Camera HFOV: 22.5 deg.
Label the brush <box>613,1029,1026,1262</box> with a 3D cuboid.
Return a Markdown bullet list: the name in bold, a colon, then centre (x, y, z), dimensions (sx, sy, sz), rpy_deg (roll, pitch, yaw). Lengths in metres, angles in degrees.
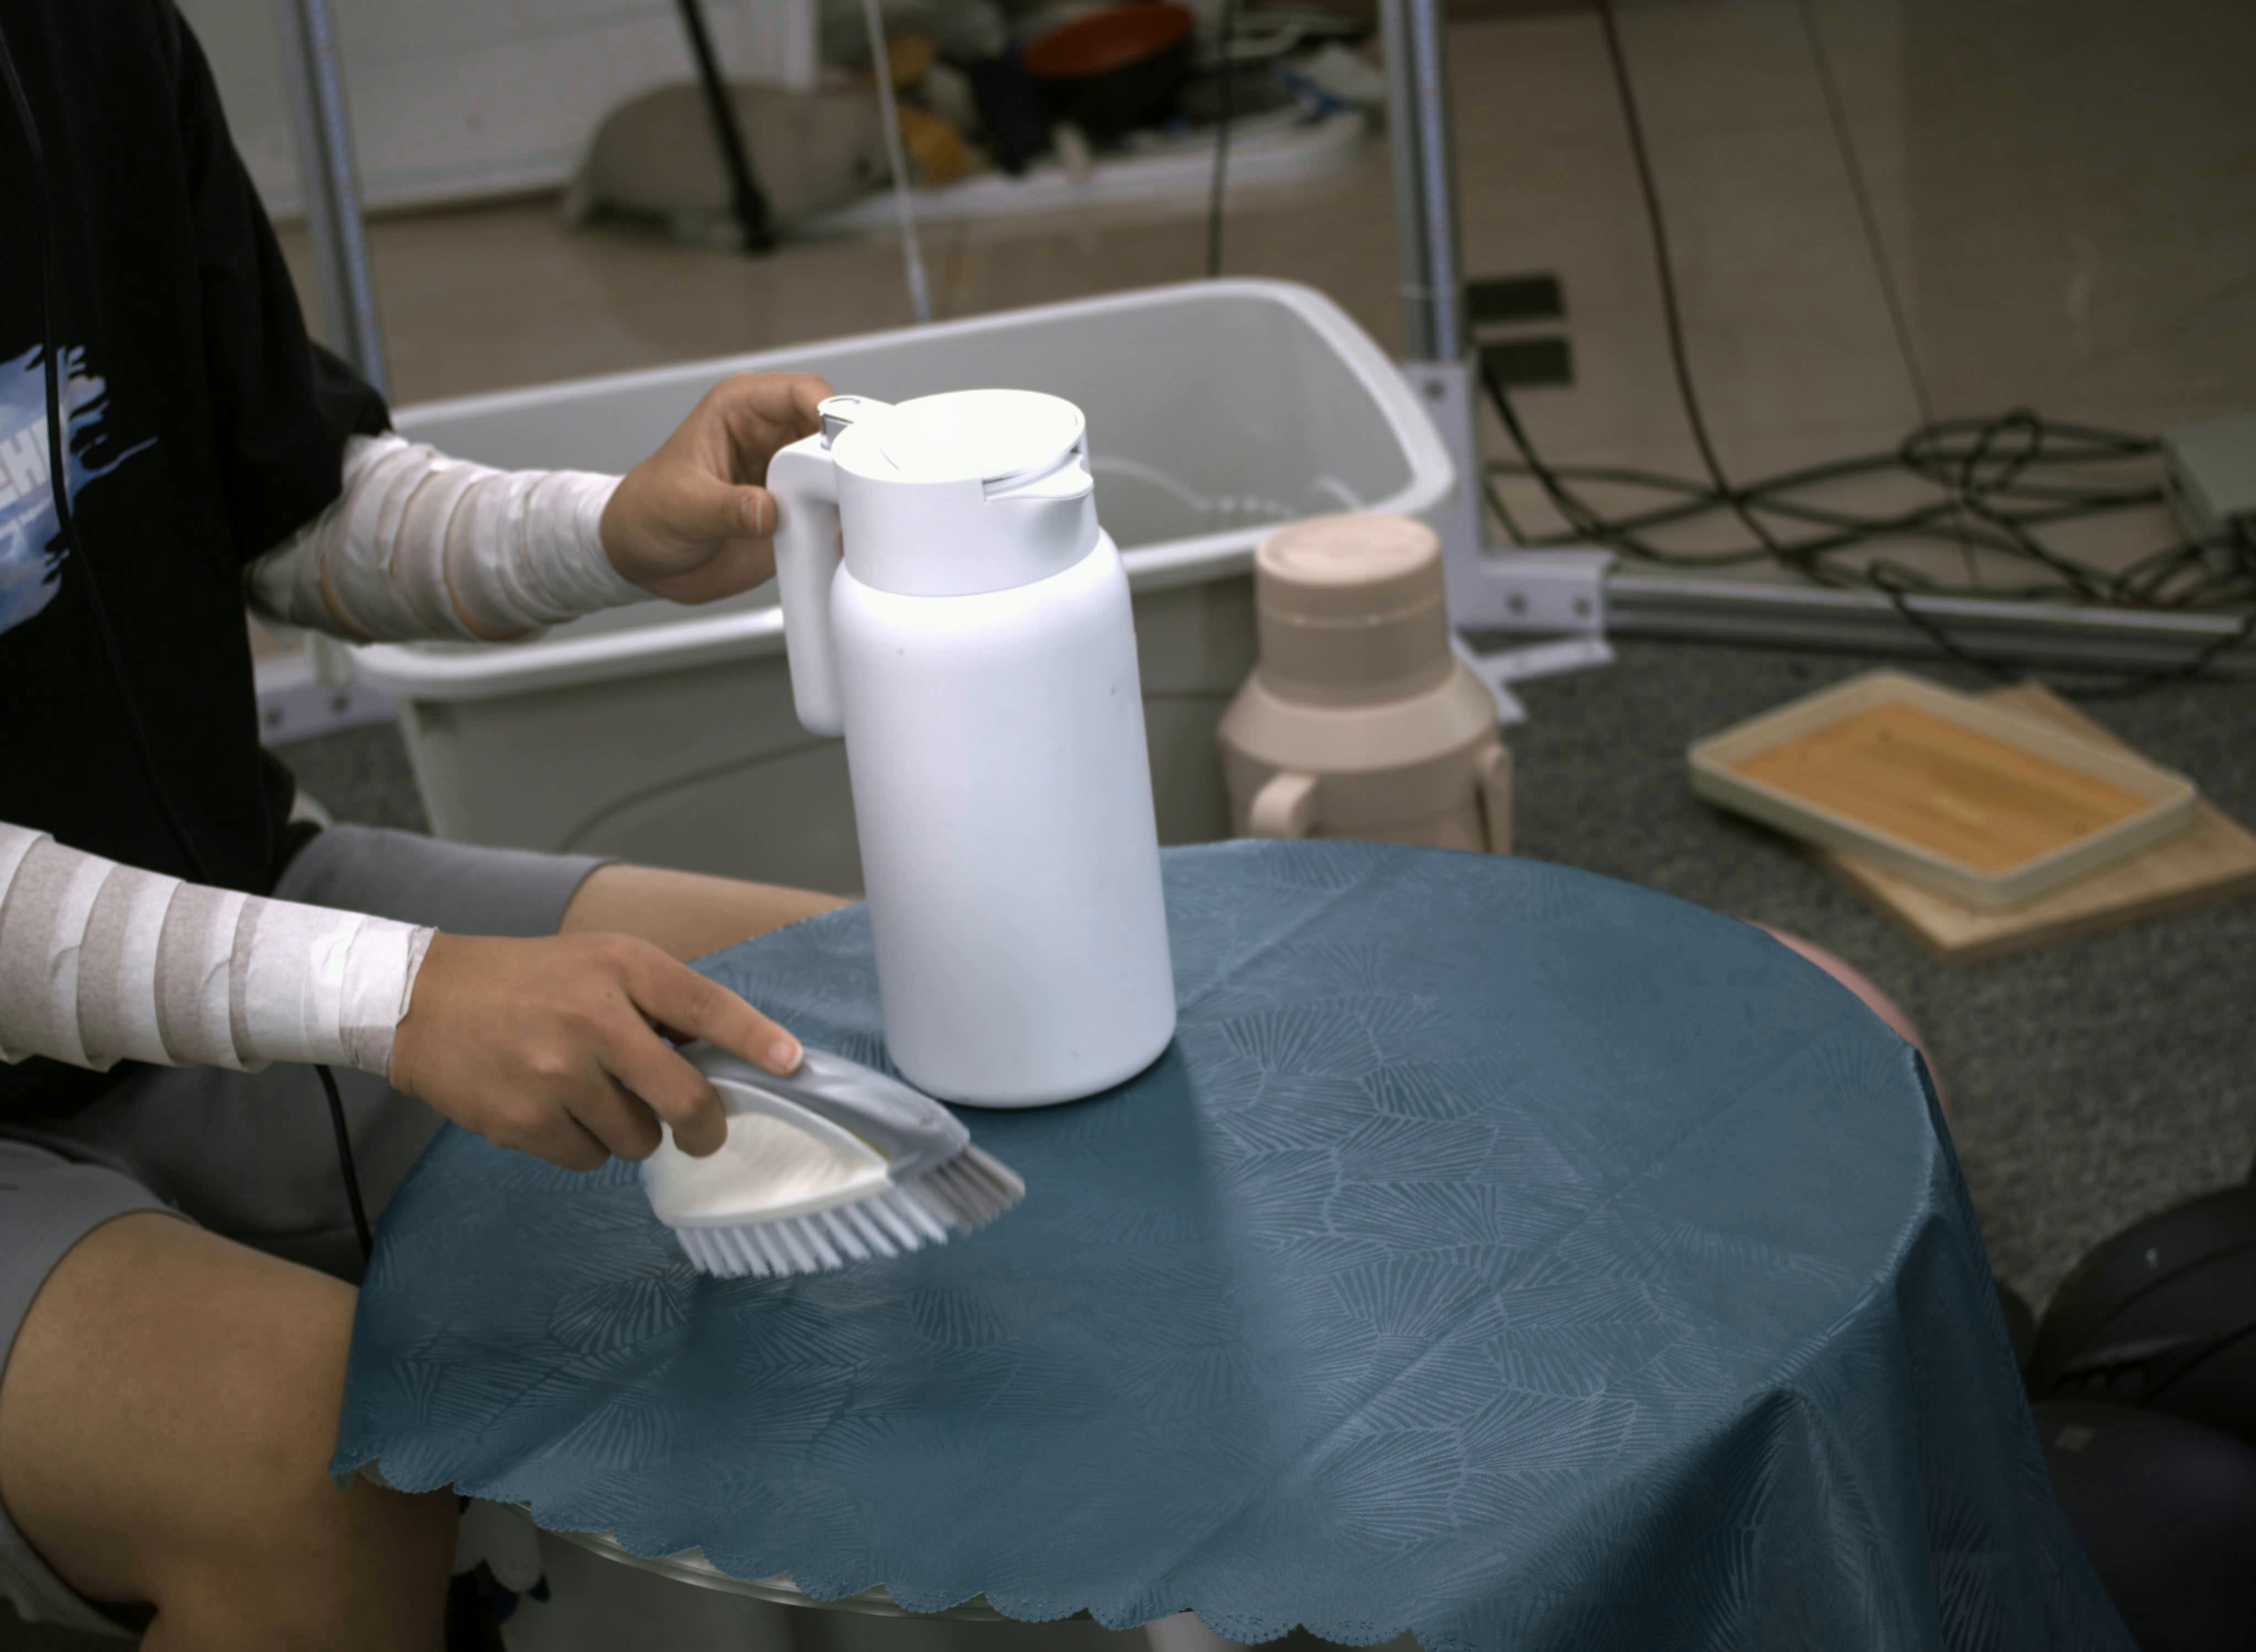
- **brush**: centre (-0.120, 0.107, 2.061), dimensions (0.175, 0.095, 0.060), rpy_deg (-8, 45, 47)

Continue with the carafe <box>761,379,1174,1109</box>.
- **carafe**: centre (-0.065, -0.034, 2.215), dimensions (0.171, 0.273, 0.122), rpy_deg (17, 36, 40)
